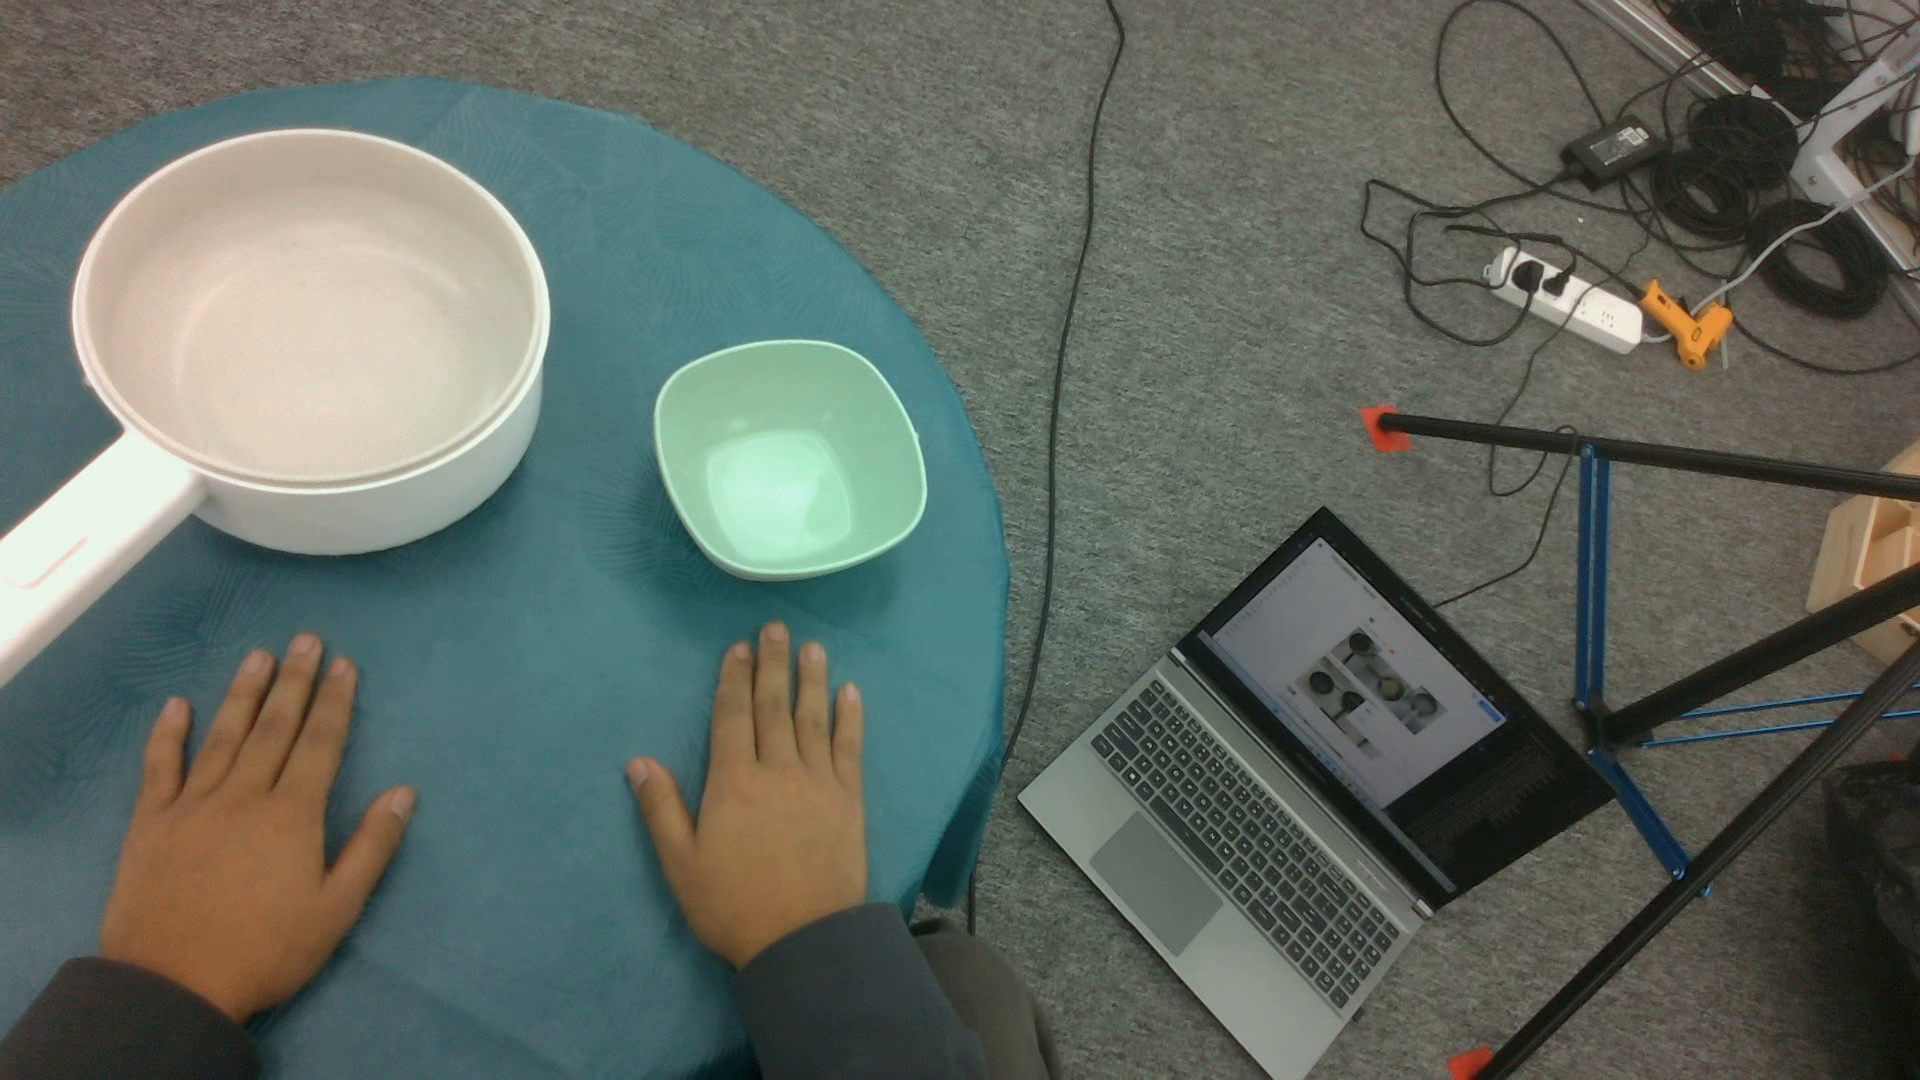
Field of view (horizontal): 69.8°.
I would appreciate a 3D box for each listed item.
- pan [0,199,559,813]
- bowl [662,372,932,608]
[{"bbox_3d":[-0.342,-0.006,0.664,0.201,0.101,0.356,30,60,0],"label":"pan"},{"bbox_3d":[-0.093,-0.019,0.760,0.151,0.058,0.152,7,59,-12],"label":"bowl"}]
